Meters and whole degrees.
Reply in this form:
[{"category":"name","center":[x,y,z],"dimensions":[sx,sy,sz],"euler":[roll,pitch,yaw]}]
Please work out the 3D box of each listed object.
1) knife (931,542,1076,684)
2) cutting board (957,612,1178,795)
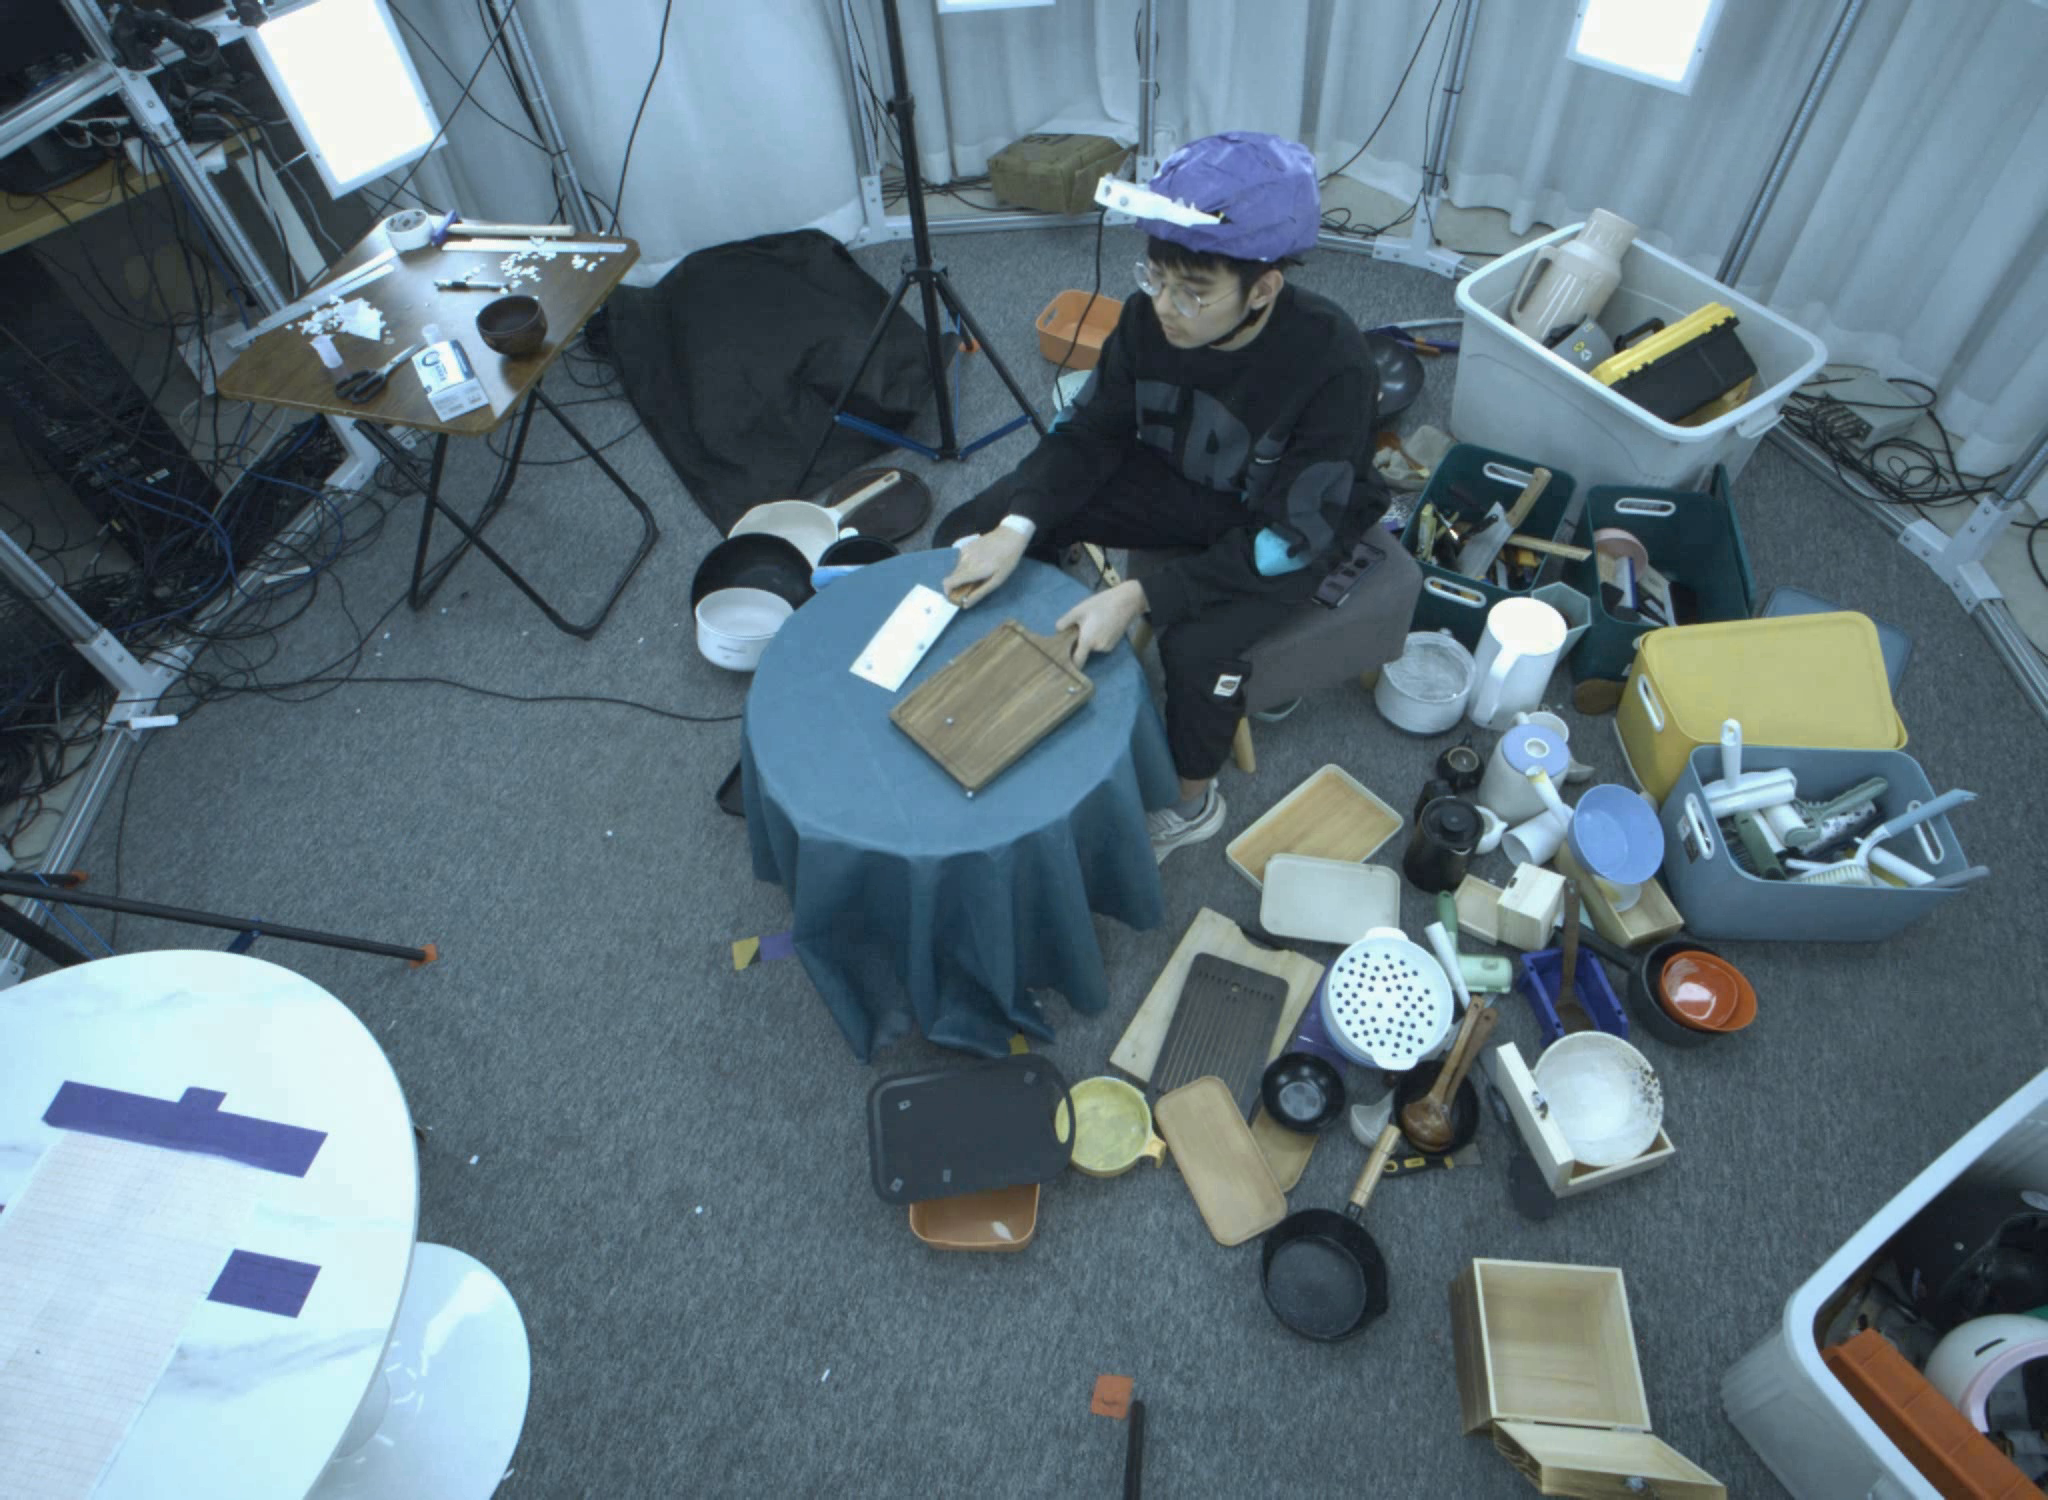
[{"category":"knife","center":[-0.035,-0.227,1.927],"dimensions":[0.091,0.021,0.307],"euler":[30,67,21]},{"category":"cutting board","center":[0.093,-0.097,1.821],"dimensions":[0.354,0.023,0.197],"euler":[-37,61,-16]}]
